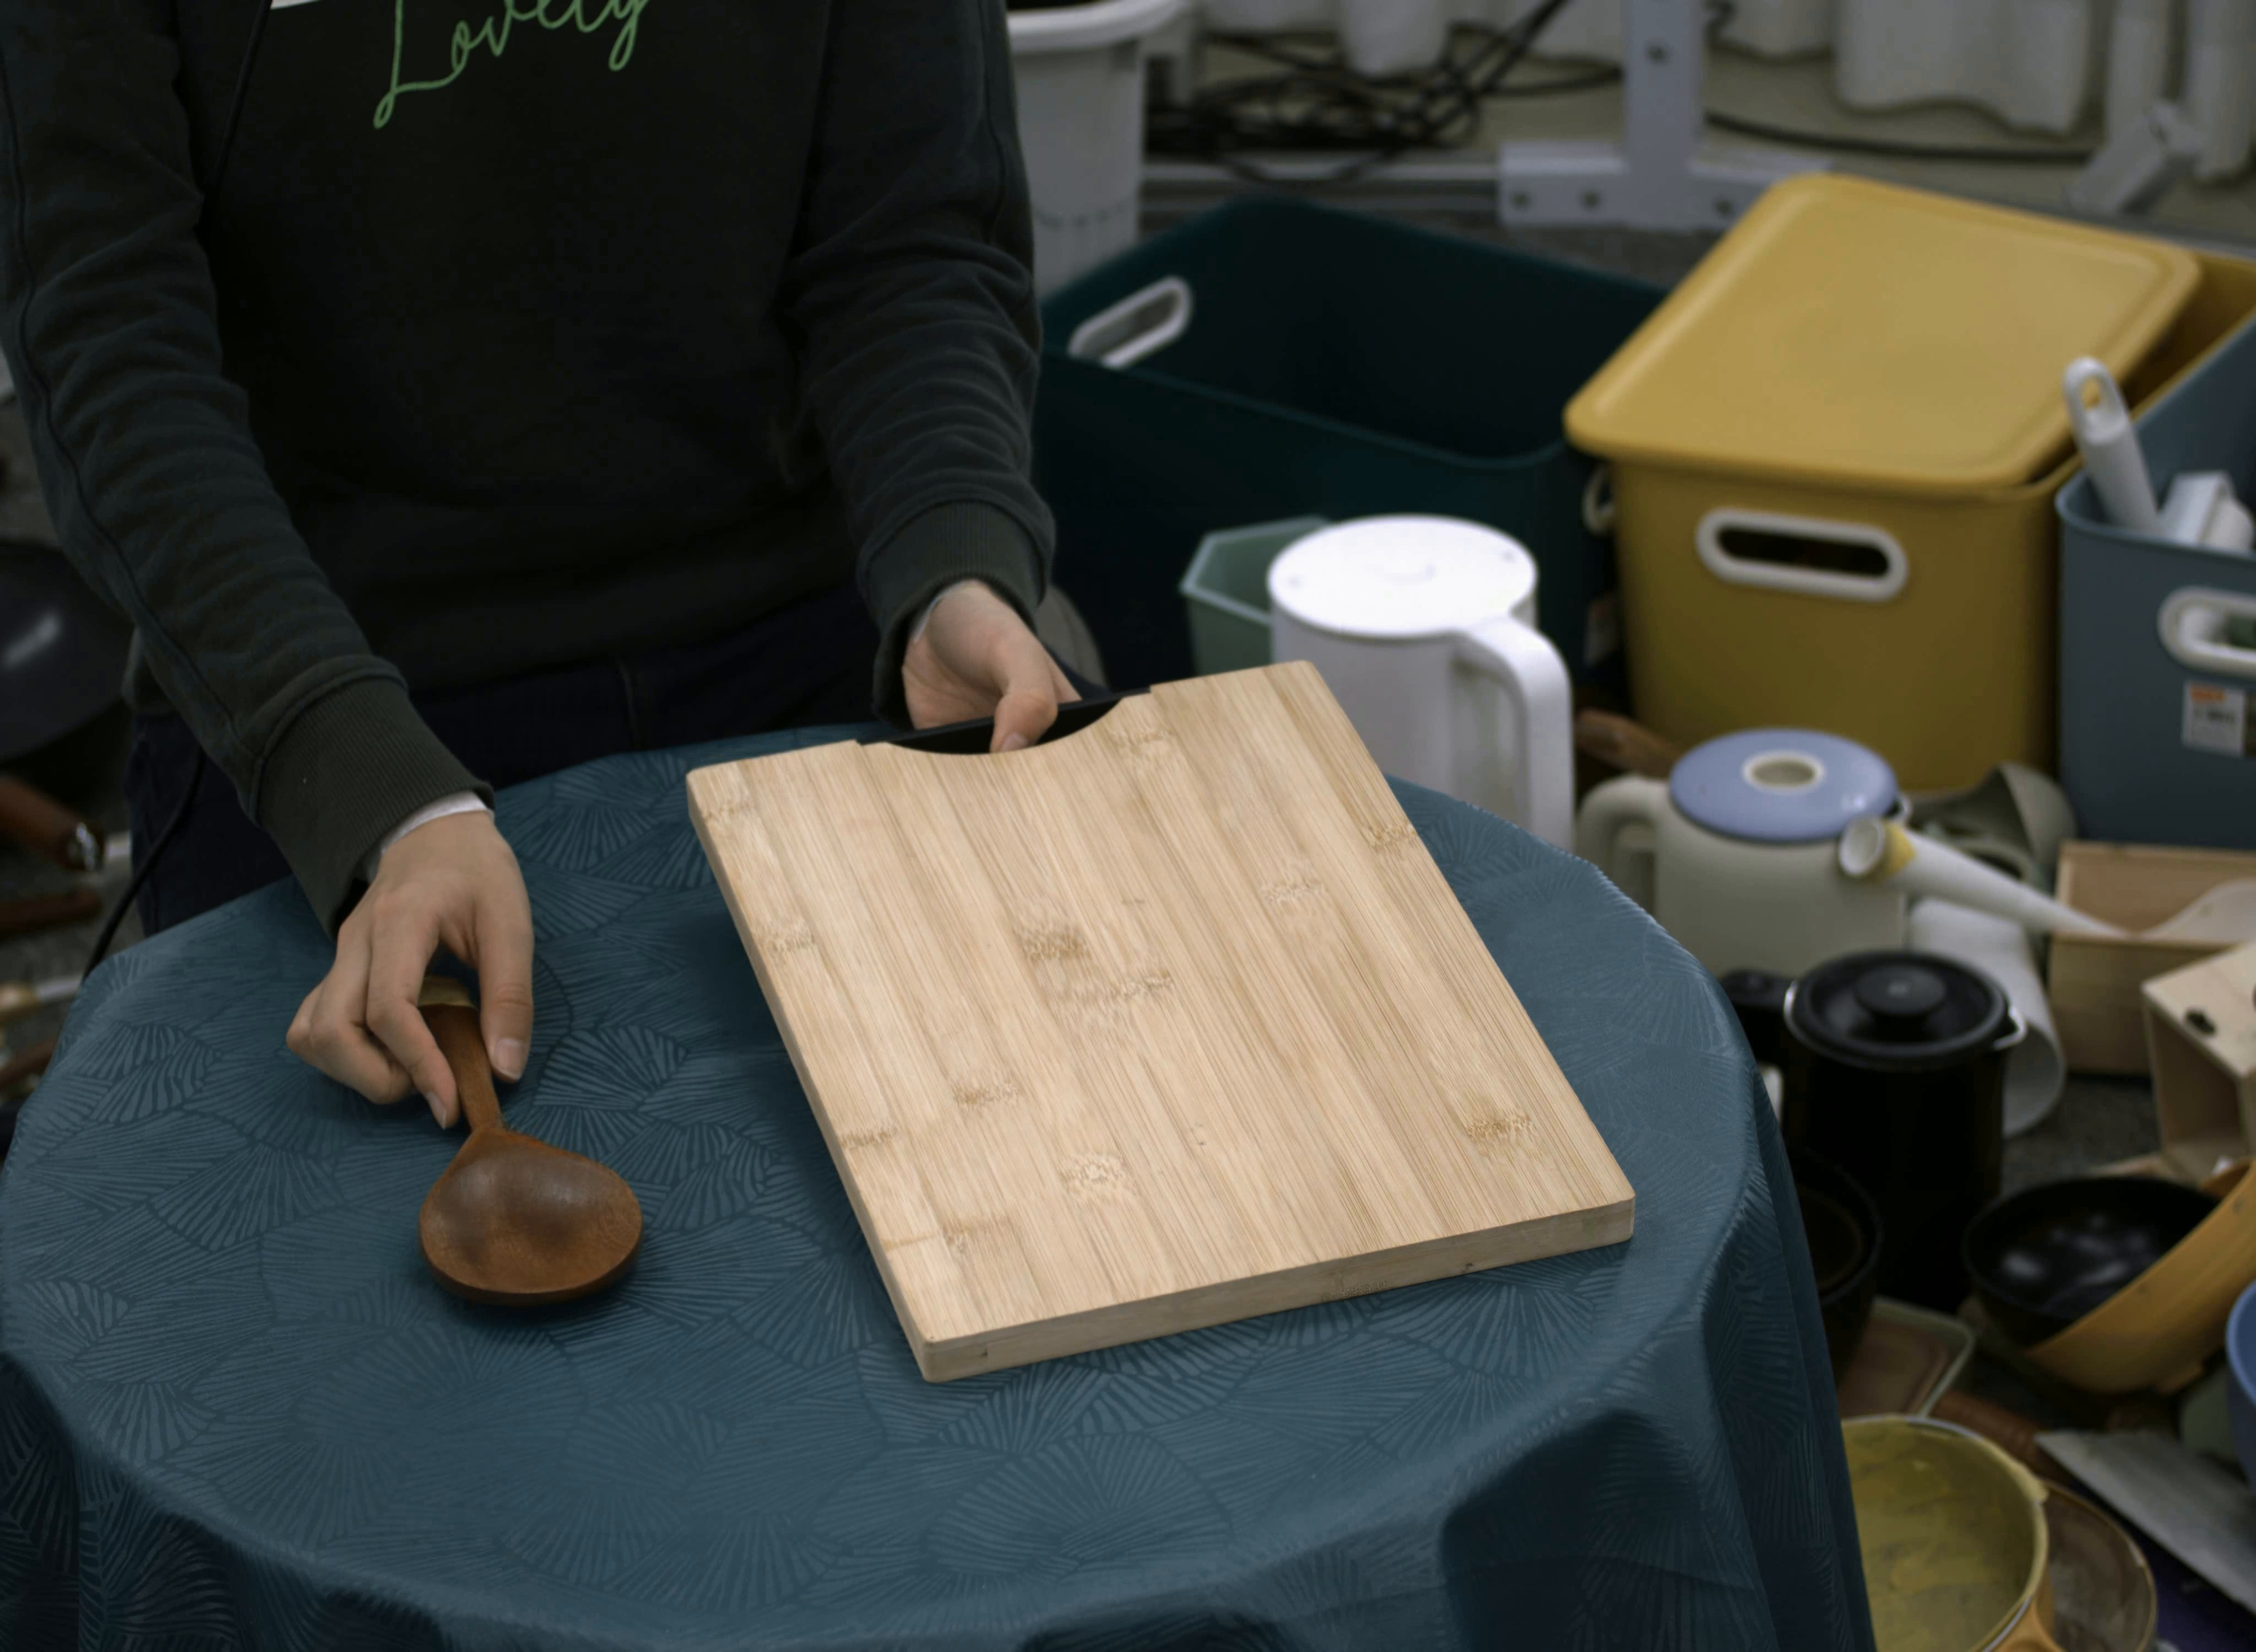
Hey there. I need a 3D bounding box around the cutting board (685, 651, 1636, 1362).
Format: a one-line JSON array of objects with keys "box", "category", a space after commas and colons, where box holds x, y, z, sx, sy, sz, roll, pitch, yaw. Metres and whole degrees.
[{"box": [0.002, 0.054, 1.930, 0.251, 0.023, 0.353, -10, 35, -14], "category": "cutting board"}]

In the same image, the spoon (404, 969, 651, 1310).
[{"box": [-0.212, 0.106, 1.889, 0.075, 0.017, 0.218, -12, 31, -13], "category": "spoon"}]
